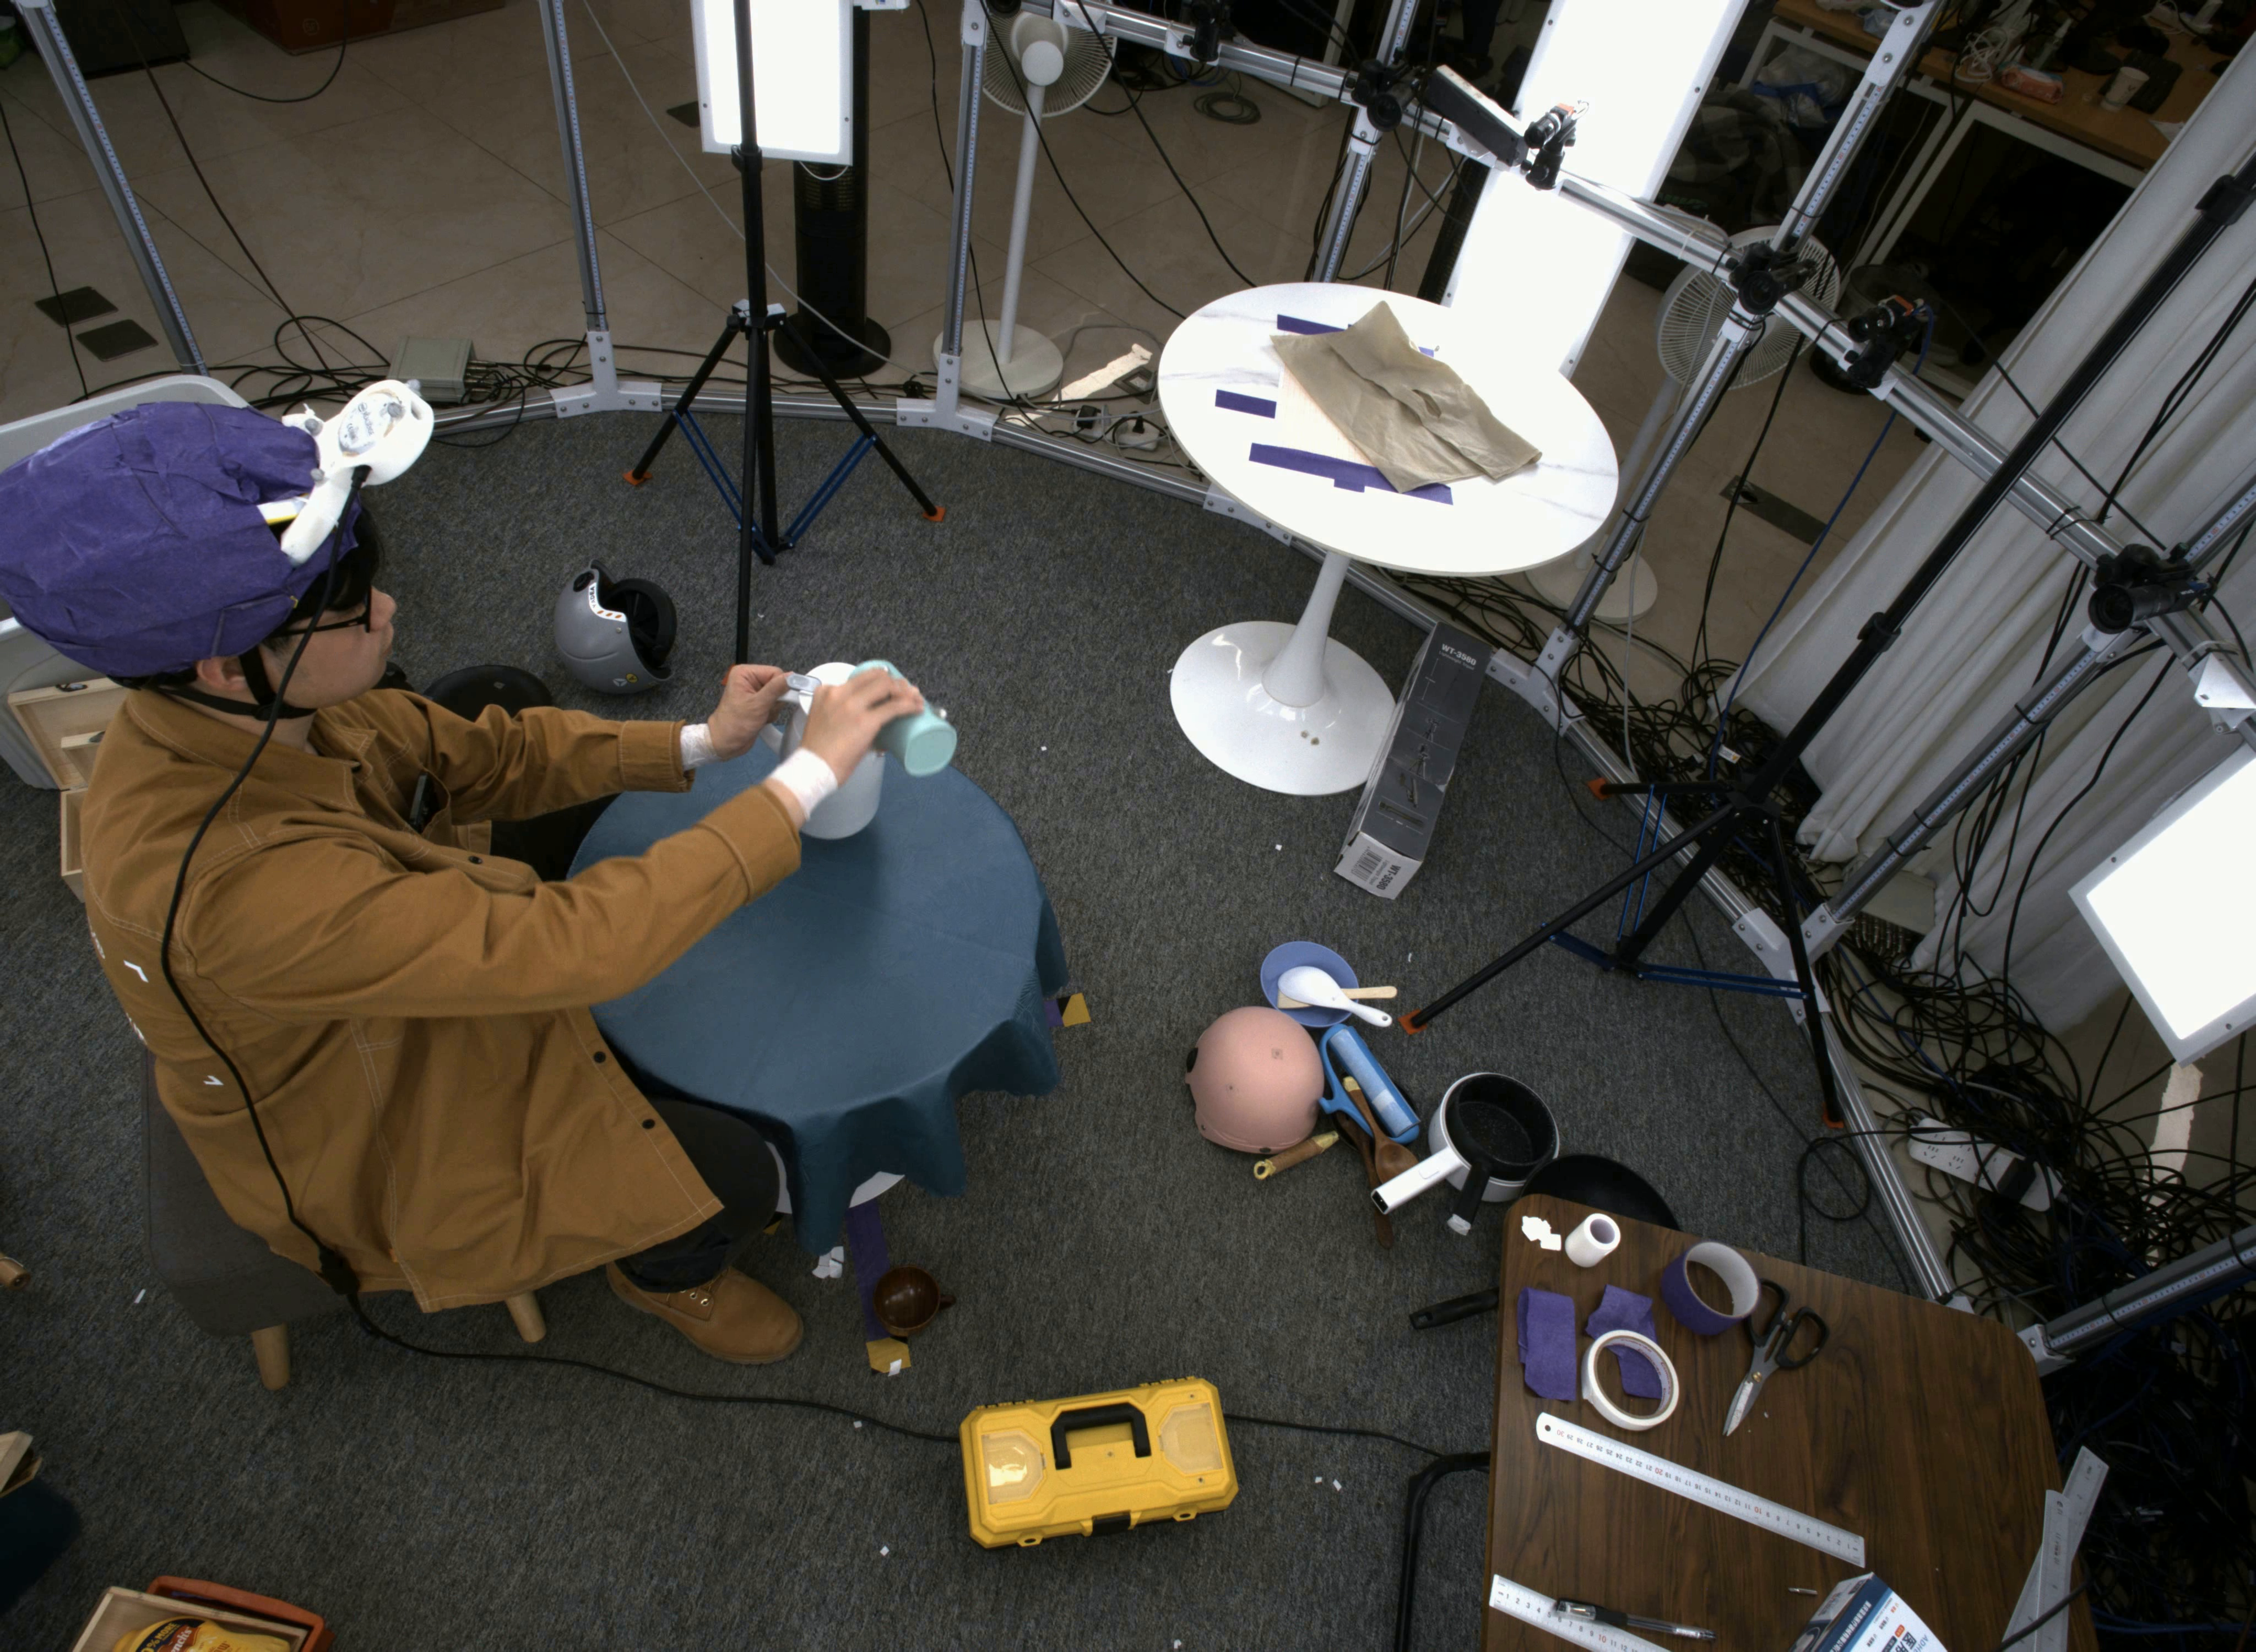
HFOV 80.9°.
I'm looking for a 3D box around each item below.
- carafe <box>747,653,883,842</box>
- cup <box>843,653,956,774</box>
[{"bbox_3d":[-0.380,-0.106,1.573,0.167,0.252,0.131,18,58,-5],"label":"carafe"},{"bbox_3d":[-0.240,-0.117,1.350,0.067,0.068,0.128,-26,54,-29],"label":"cup"}]
